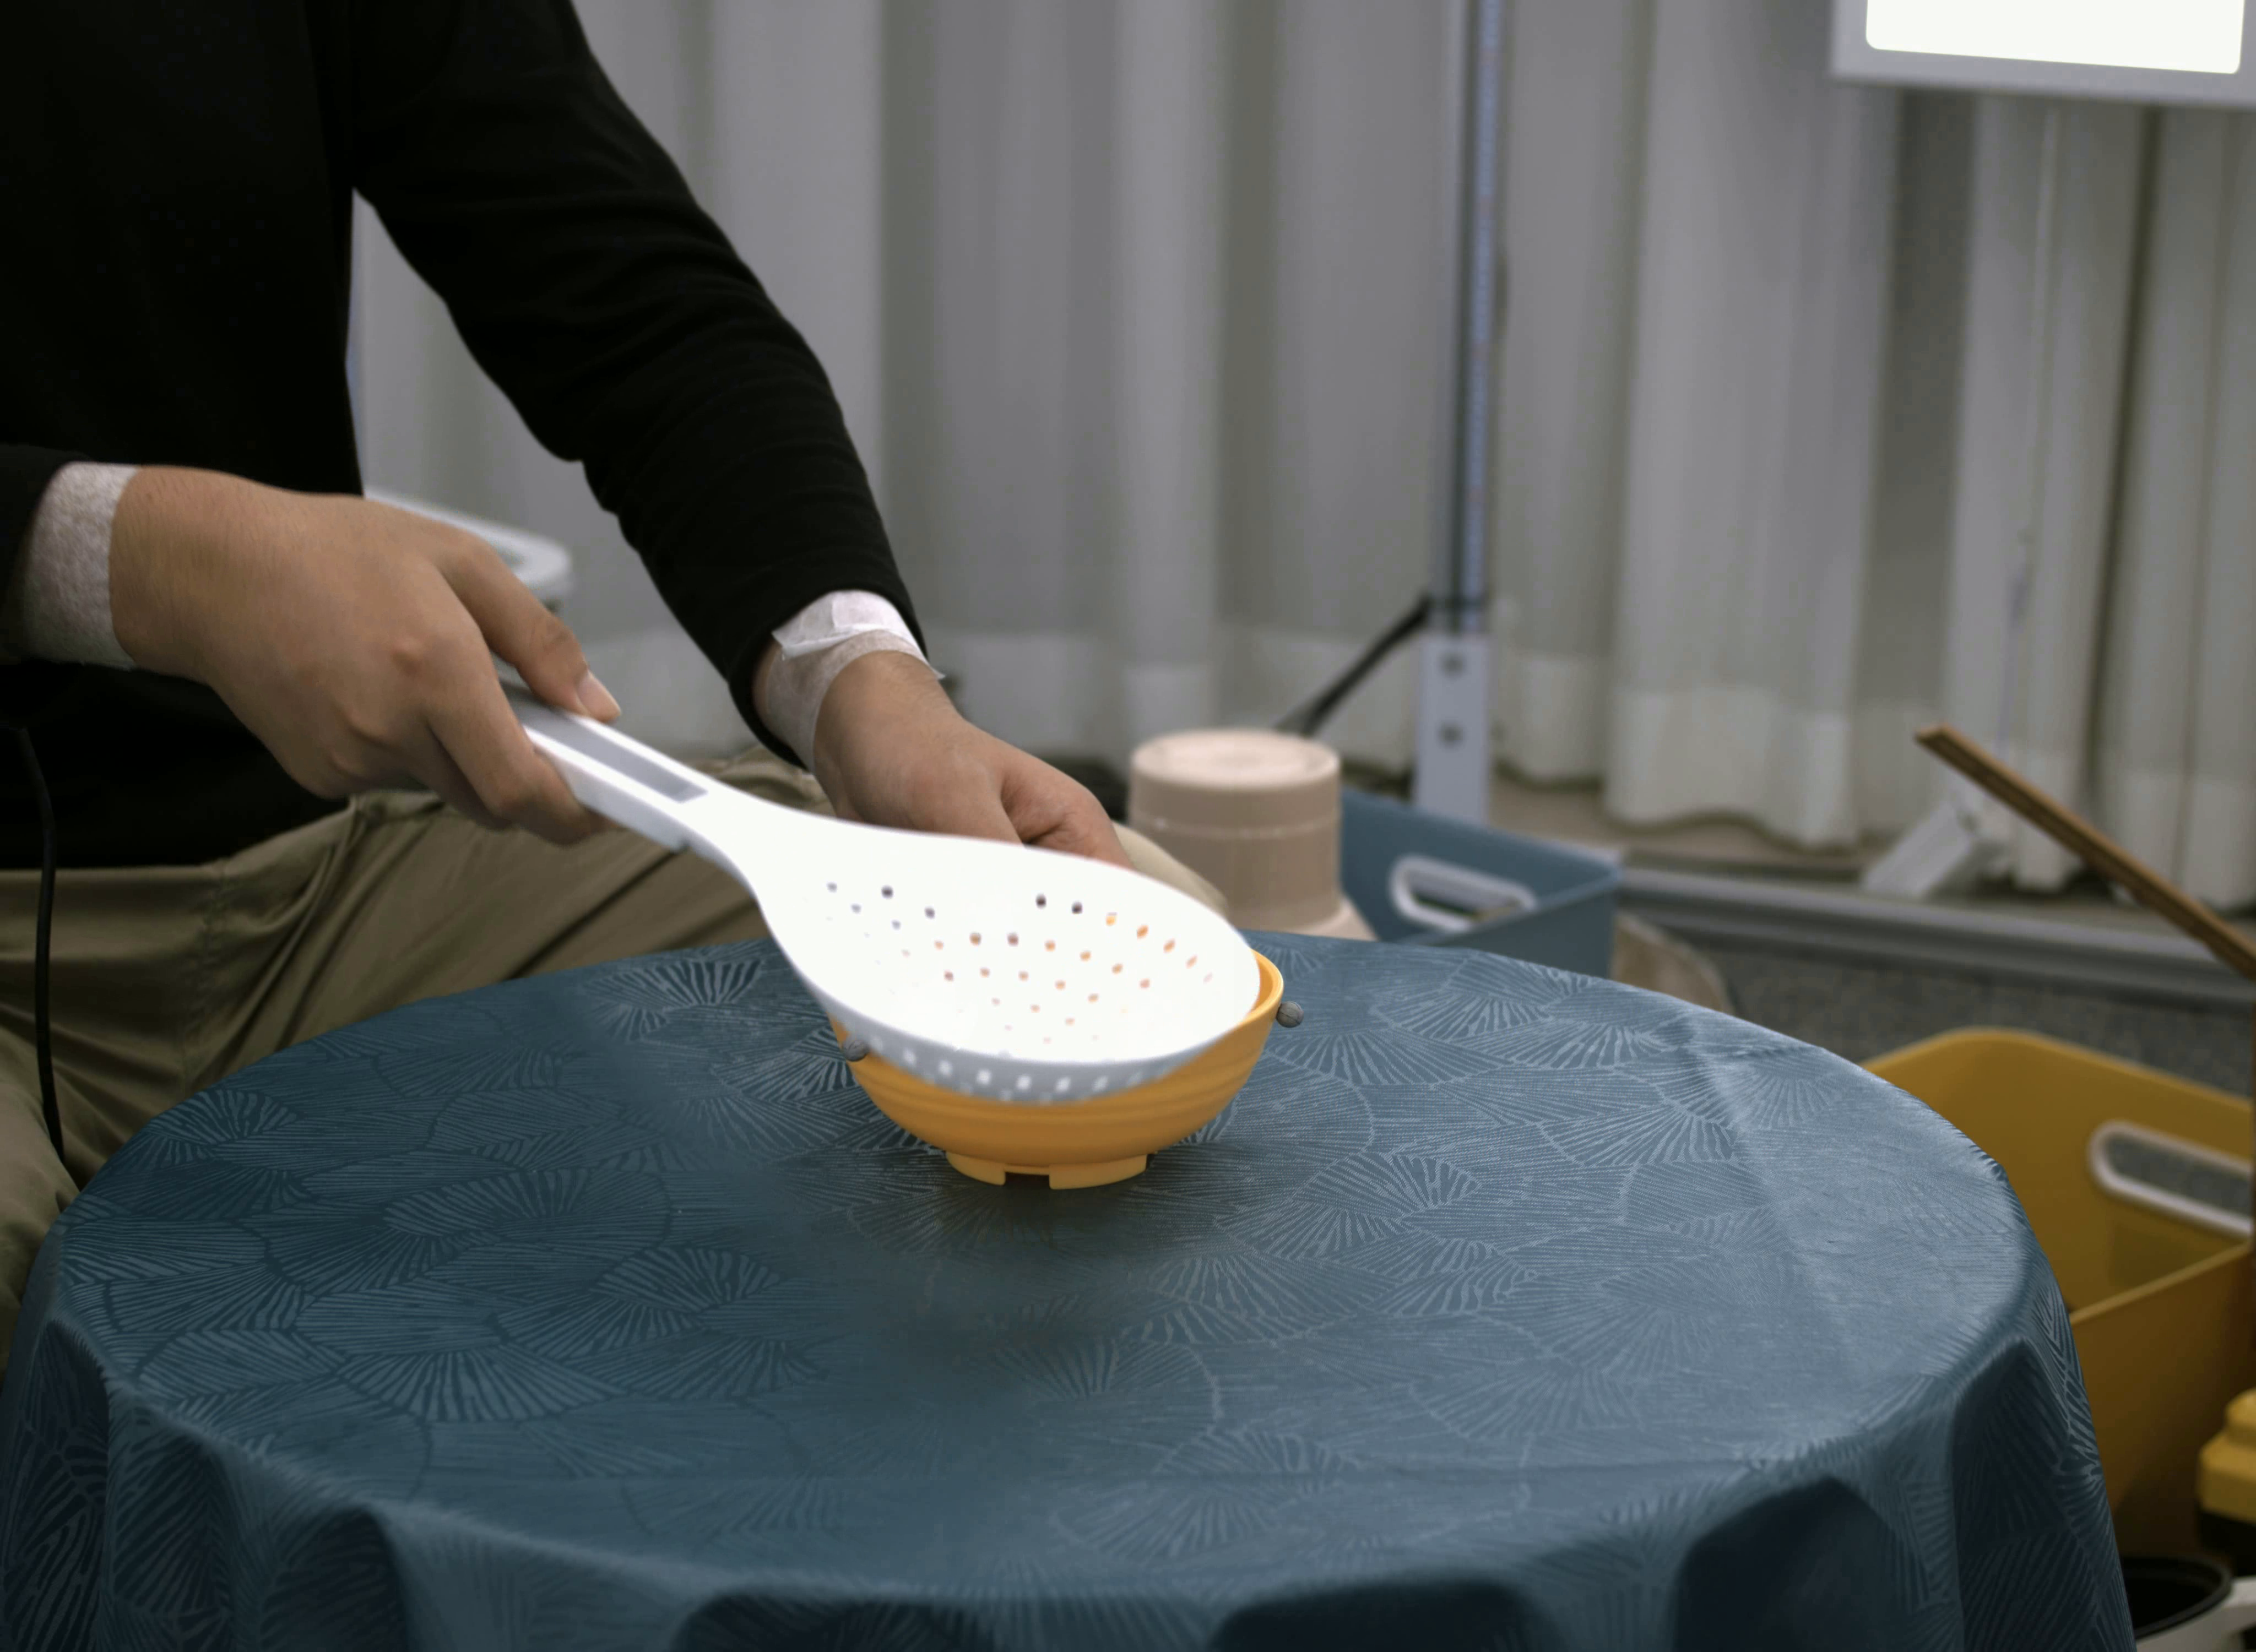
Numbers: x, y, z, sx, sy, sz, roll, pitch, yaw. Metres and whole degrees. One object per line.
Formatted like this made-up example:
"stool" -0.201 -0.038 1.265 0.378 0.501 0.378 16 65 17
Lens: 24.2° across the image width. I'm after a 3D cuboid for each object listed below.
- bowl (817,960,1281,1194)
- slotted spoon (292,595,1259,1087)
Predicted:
"bowl" -0.025 0.077 1.644 0.145 0.060 0.144 2 14 0
"slotted spoon" -0.115 -0.002 1.533 0.345 0.046 0.136 29 31 28
